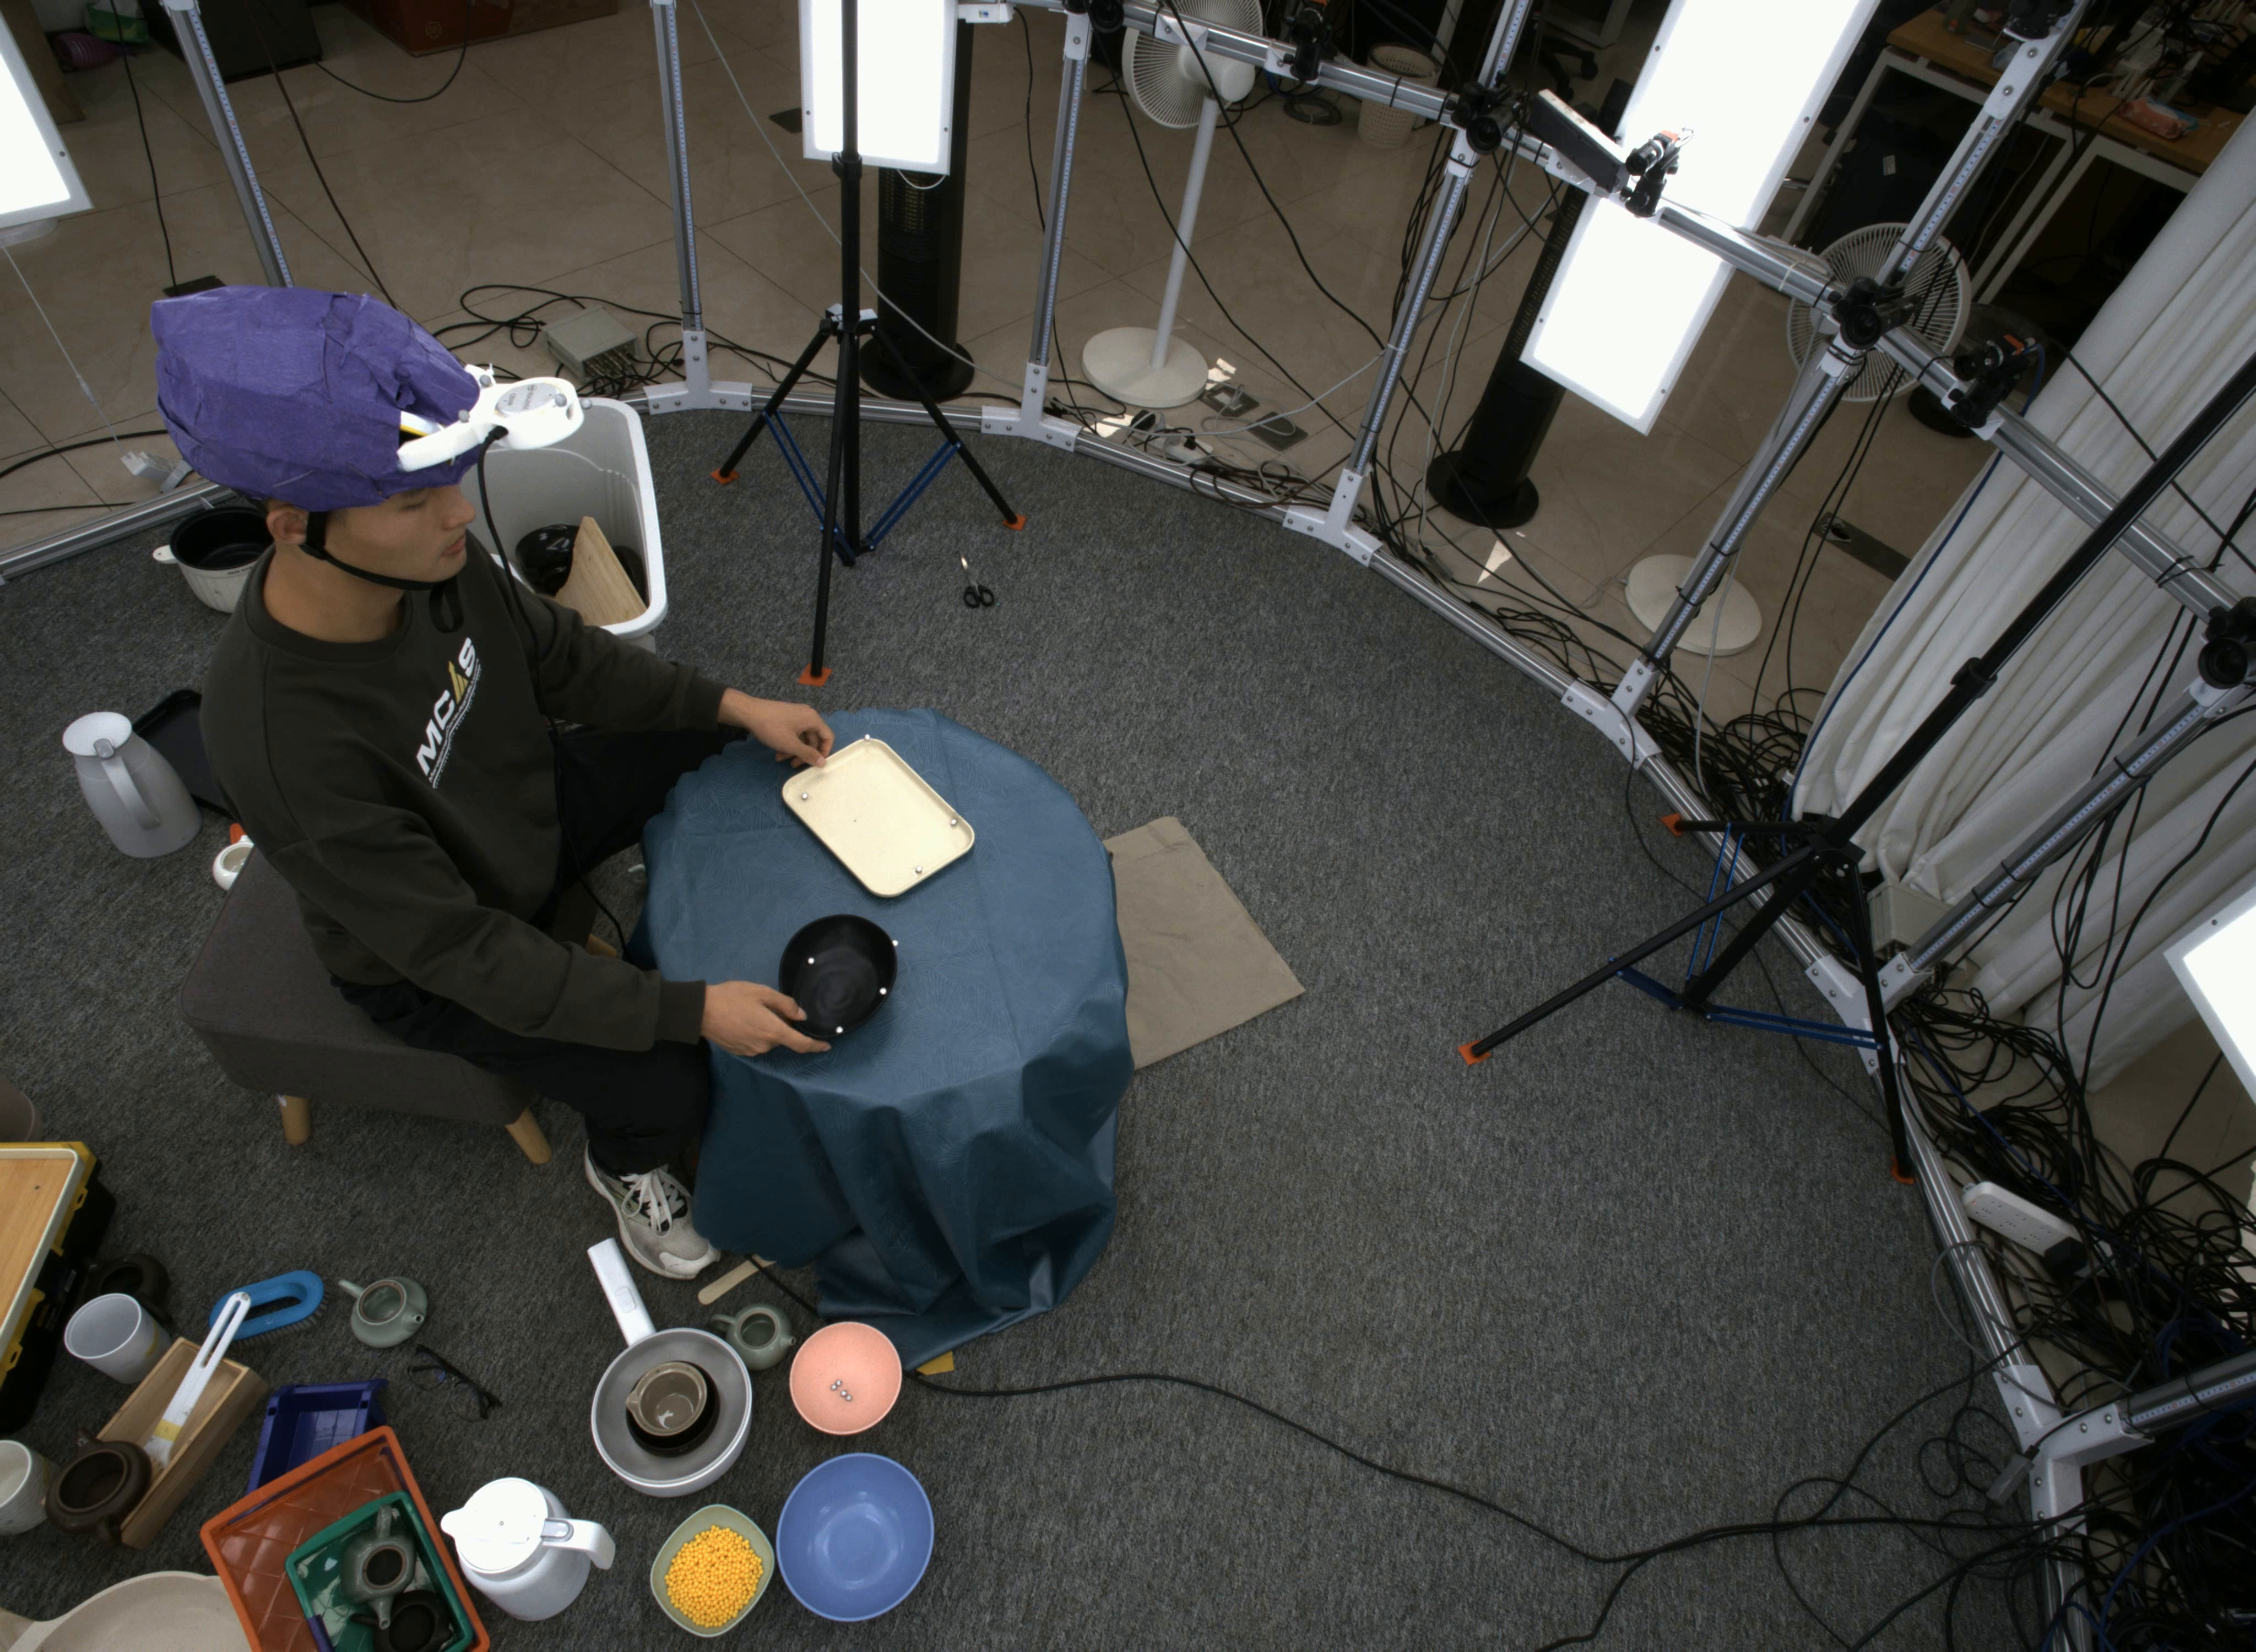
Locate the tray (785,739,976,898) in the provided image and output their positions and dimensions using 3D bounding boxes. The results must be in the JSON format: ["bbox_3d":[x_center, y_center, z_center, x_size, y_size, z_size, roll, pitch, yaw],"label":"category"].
[{"bbox_3d":[-0.334,-0.013,1.755,0.234,0.018,0.171,43,57,19],"label":"tray"}]

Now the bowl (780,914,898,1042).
[{"bbox_3d":[-0.348,0.190,1.572,0.136,0.068,0.168,11,54,-3],"label":"bowl"}]
